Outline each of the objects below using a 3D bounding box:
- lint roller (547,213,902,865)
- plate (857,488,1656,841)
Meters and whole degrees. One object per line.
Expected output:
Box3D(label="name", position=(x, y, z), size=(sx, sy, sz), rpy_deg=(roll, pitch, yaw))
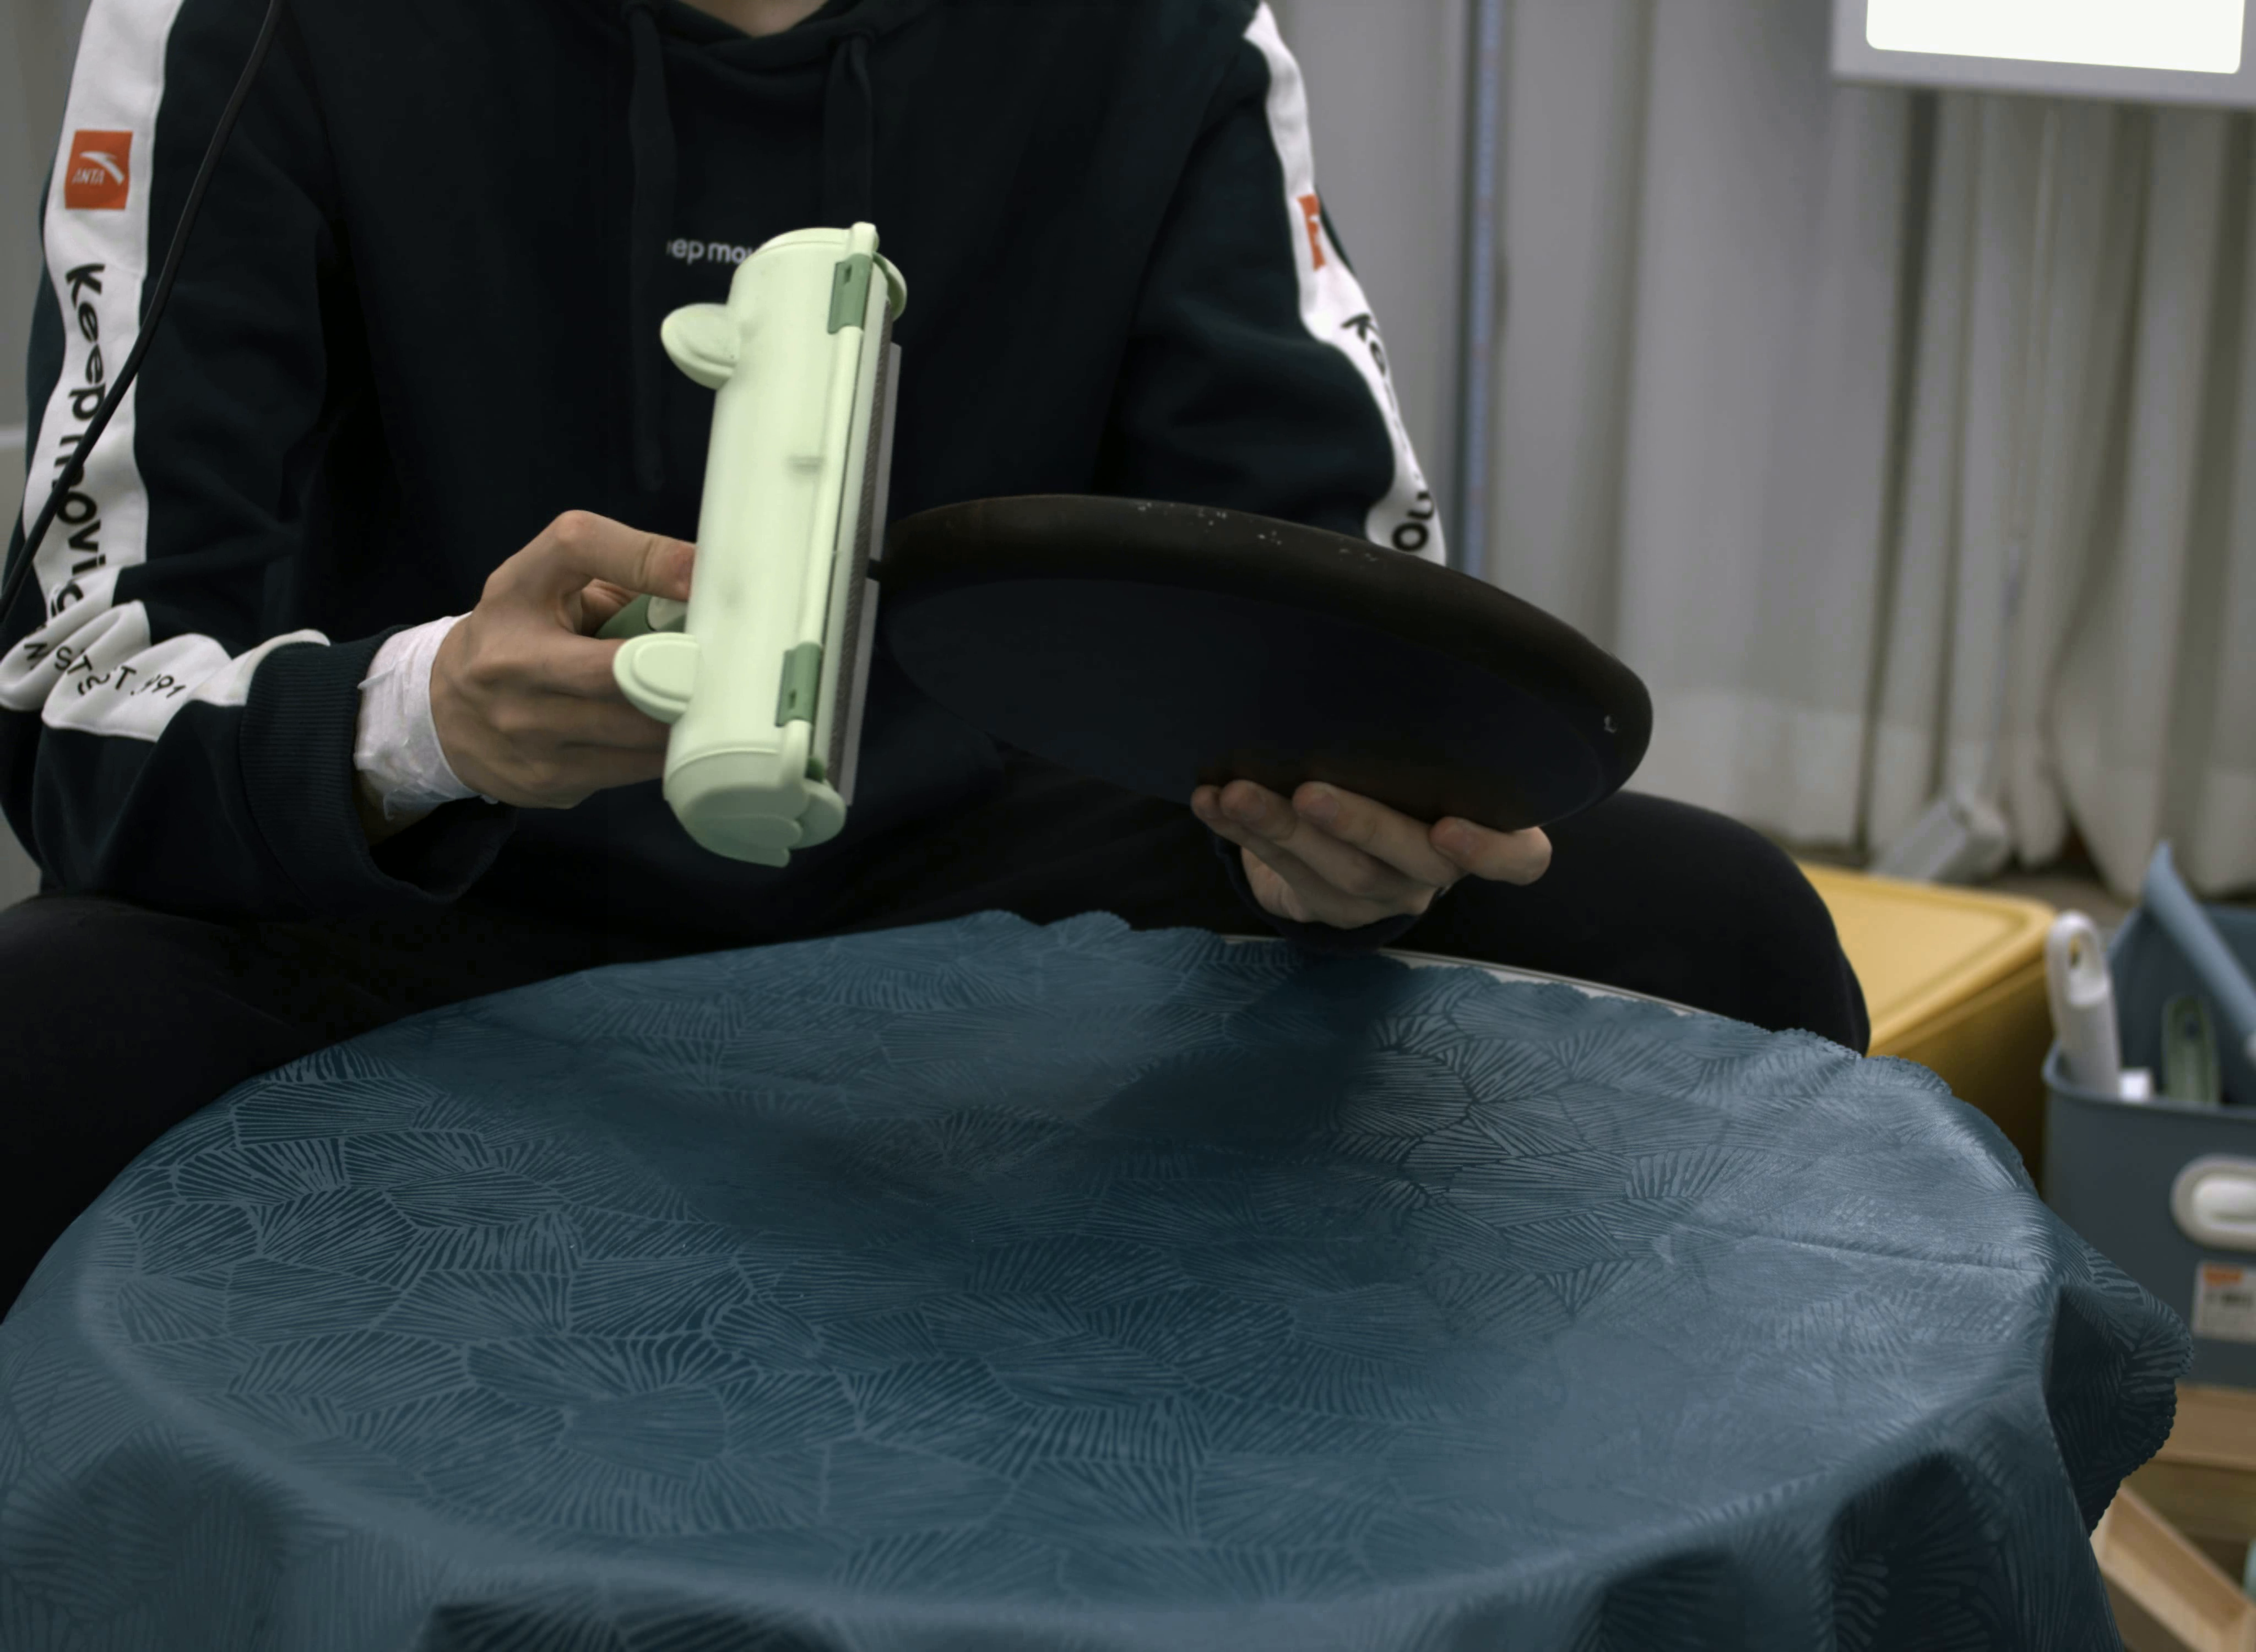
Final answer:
Box3D(label="lint roller", position=(-0.143, -0.072, 1.589), size=(0.083, 0.197, 0.182), rpy_deg=(25, -34, -34))
Box3D(label="plate", position=(0.038, -0.046, 1.630), size=(0.254, 0.029, 0.256), rpy_deg=(10, -15, 3))
